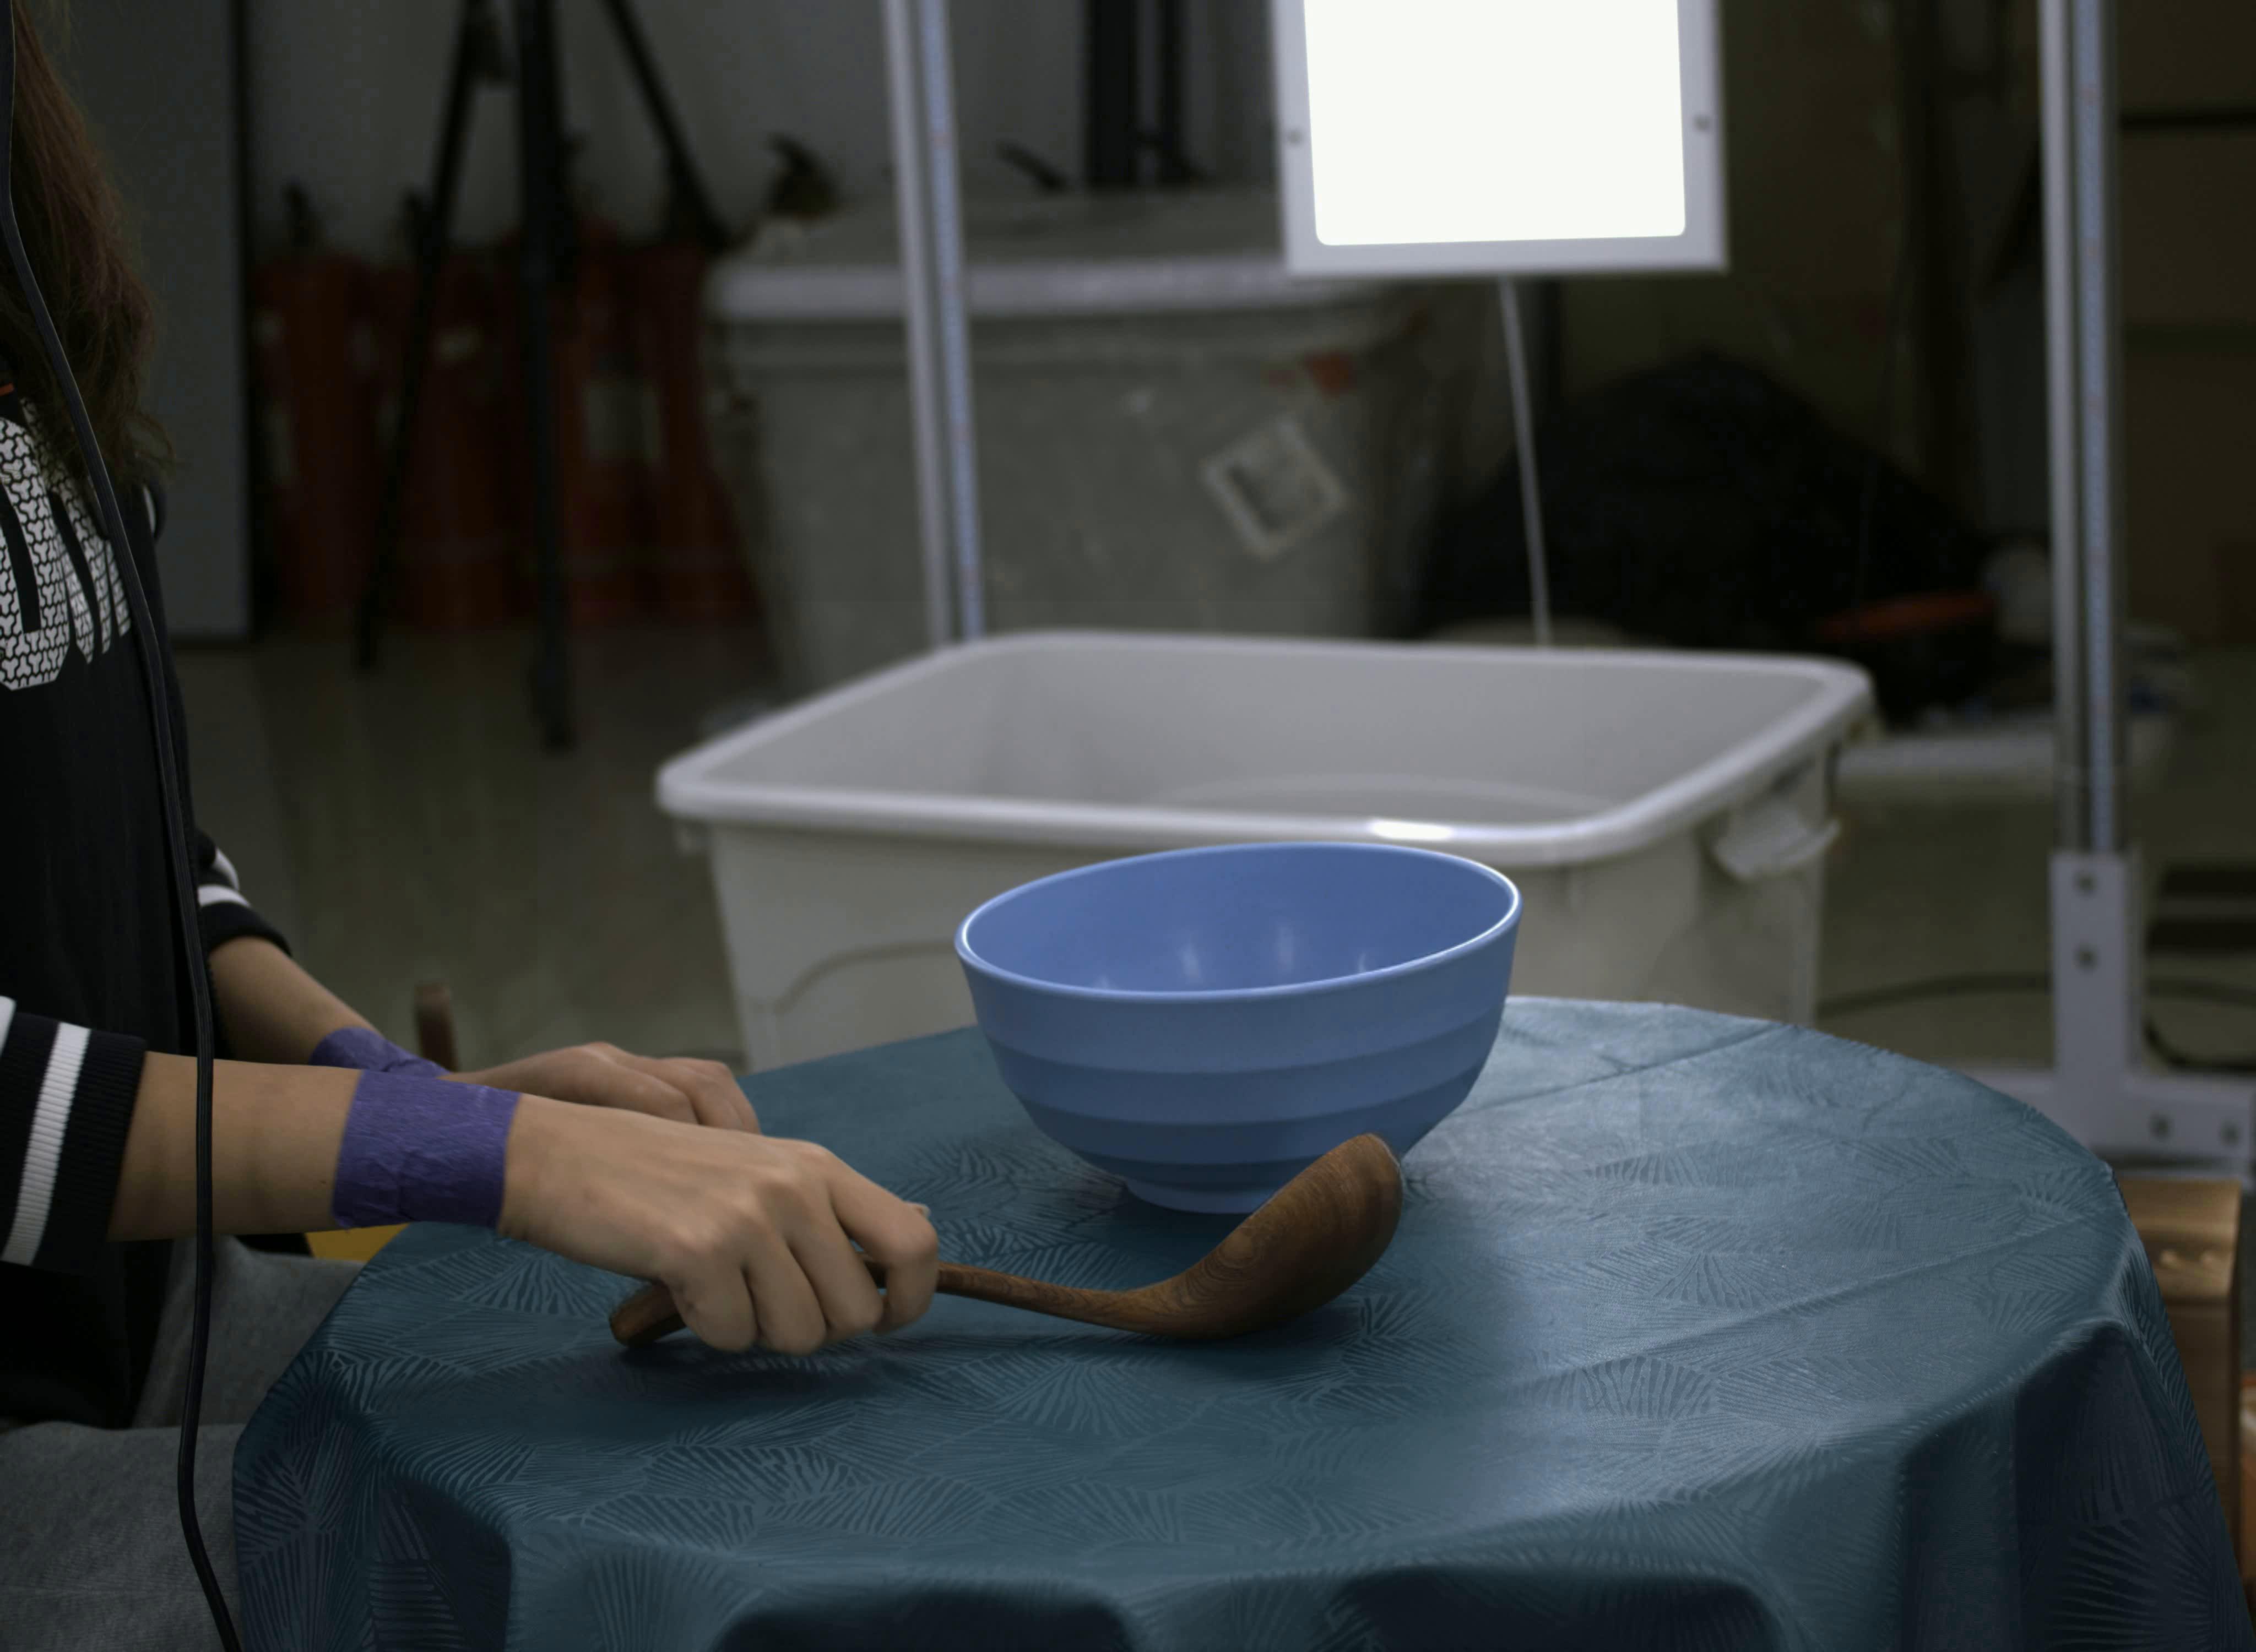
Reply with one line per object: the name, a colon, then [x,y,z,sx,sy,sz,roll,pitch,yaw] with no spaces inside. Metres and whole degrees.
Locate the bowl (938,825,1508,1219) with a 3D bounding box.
bowl: [0.034,0.075,1.900,0.196,0.096,0.196,-3,19,0]

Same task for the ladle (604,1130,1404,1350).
ladle: [-0.041,0.133,1.758,0.262,0.065,0.076,-2,-19,14]
